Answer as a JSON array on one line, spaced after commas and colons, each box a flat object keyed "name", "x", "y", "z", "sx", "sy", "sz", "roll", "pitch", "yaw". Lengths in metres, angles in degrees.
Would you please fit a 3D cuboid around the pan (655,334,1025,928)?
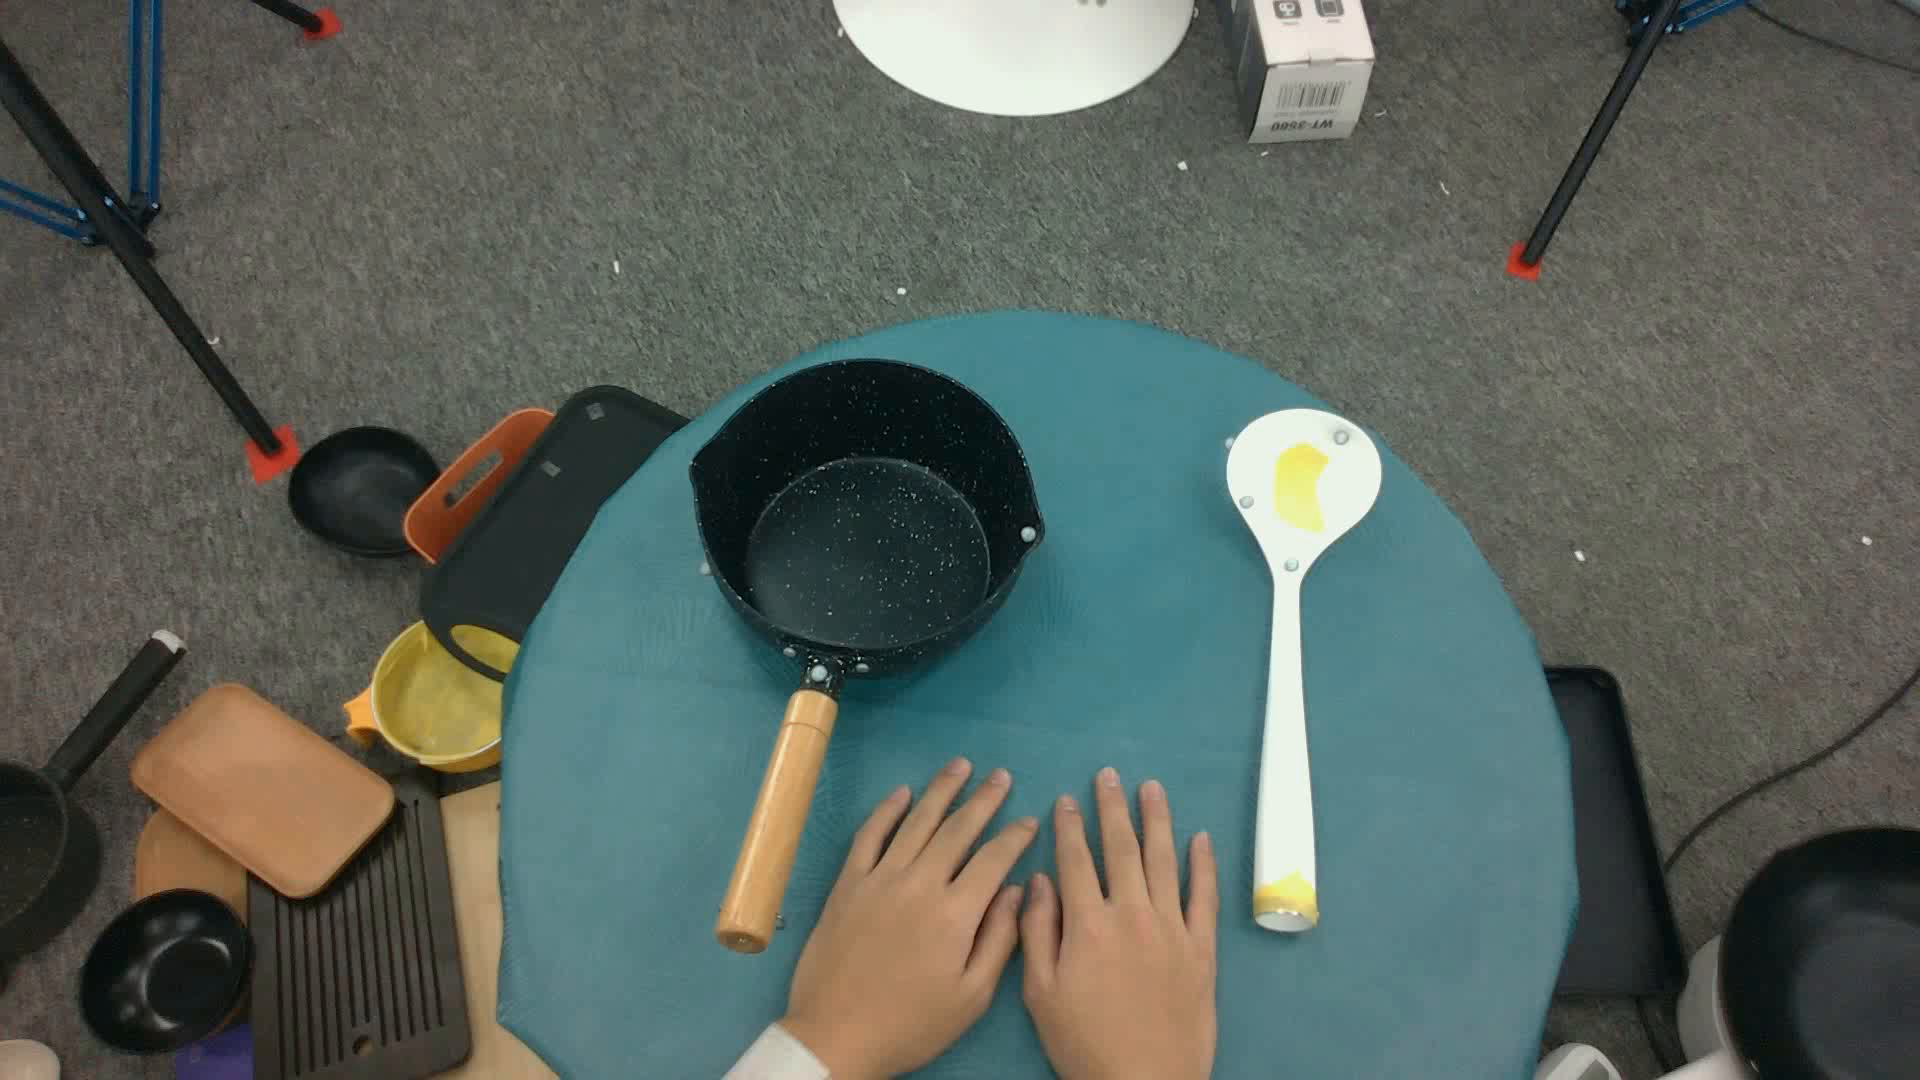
[{"name": "pan", "x": -0.079, "y": 0.047, "z": 0.737, "sx": 0.207, "sy": 0.108, "sz": 0.344, "roll": 10, "pitch": 61, "yaw": 1}]

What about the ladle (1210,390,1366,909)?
[{"name": "ladle", "x": 0.177, "y": 0.056, "z": 0.780, "sx": 0.090, "sy": 0.069, "sz": 0.294, "roll": 13, "pitch": 64, "yaw": -3}]
